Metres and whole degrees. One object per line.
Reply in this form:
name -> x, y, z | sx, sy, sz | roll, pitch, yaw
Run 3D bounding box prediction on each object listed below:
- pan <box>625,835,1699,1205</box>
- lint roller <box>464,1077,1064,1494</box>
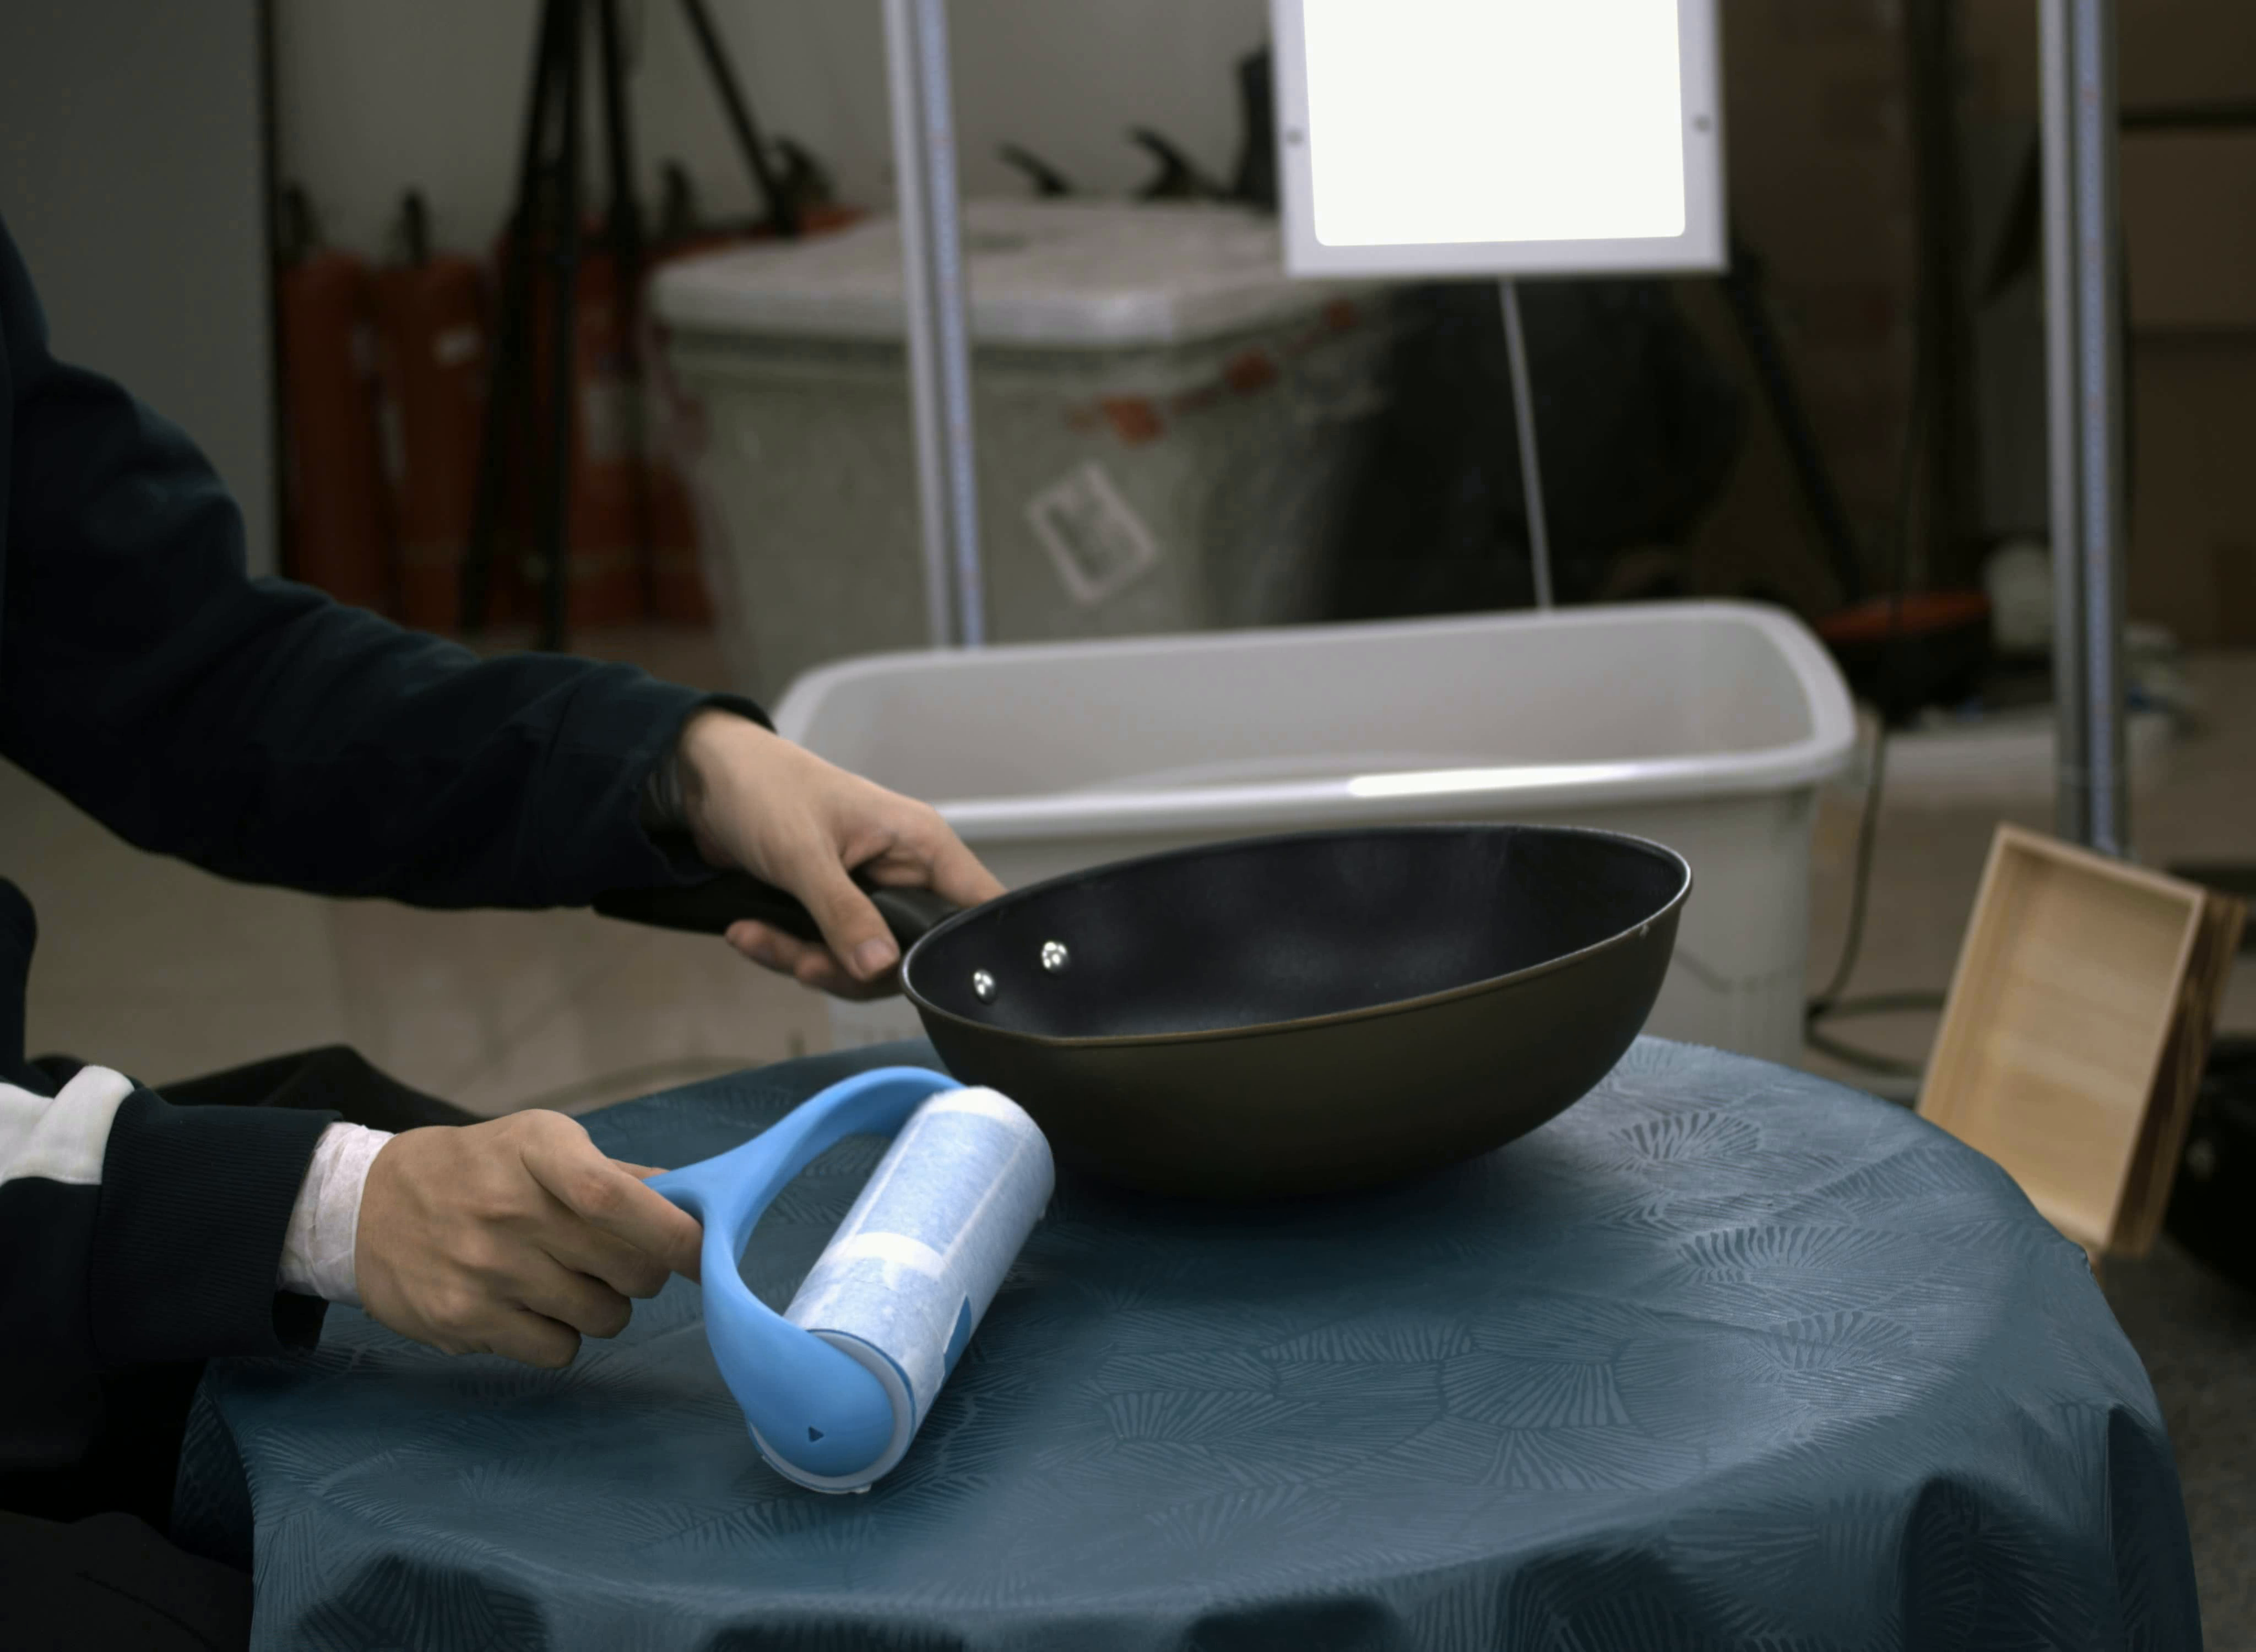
pan -> -0.008, 0.069, 1.971 | 0.473, 0.087, 0.281 | 1, 15, 40
lint roller -> -0.123, 0.140, 1.725 | 0.181, 0.068, 0.226 | 1, 20, 9
